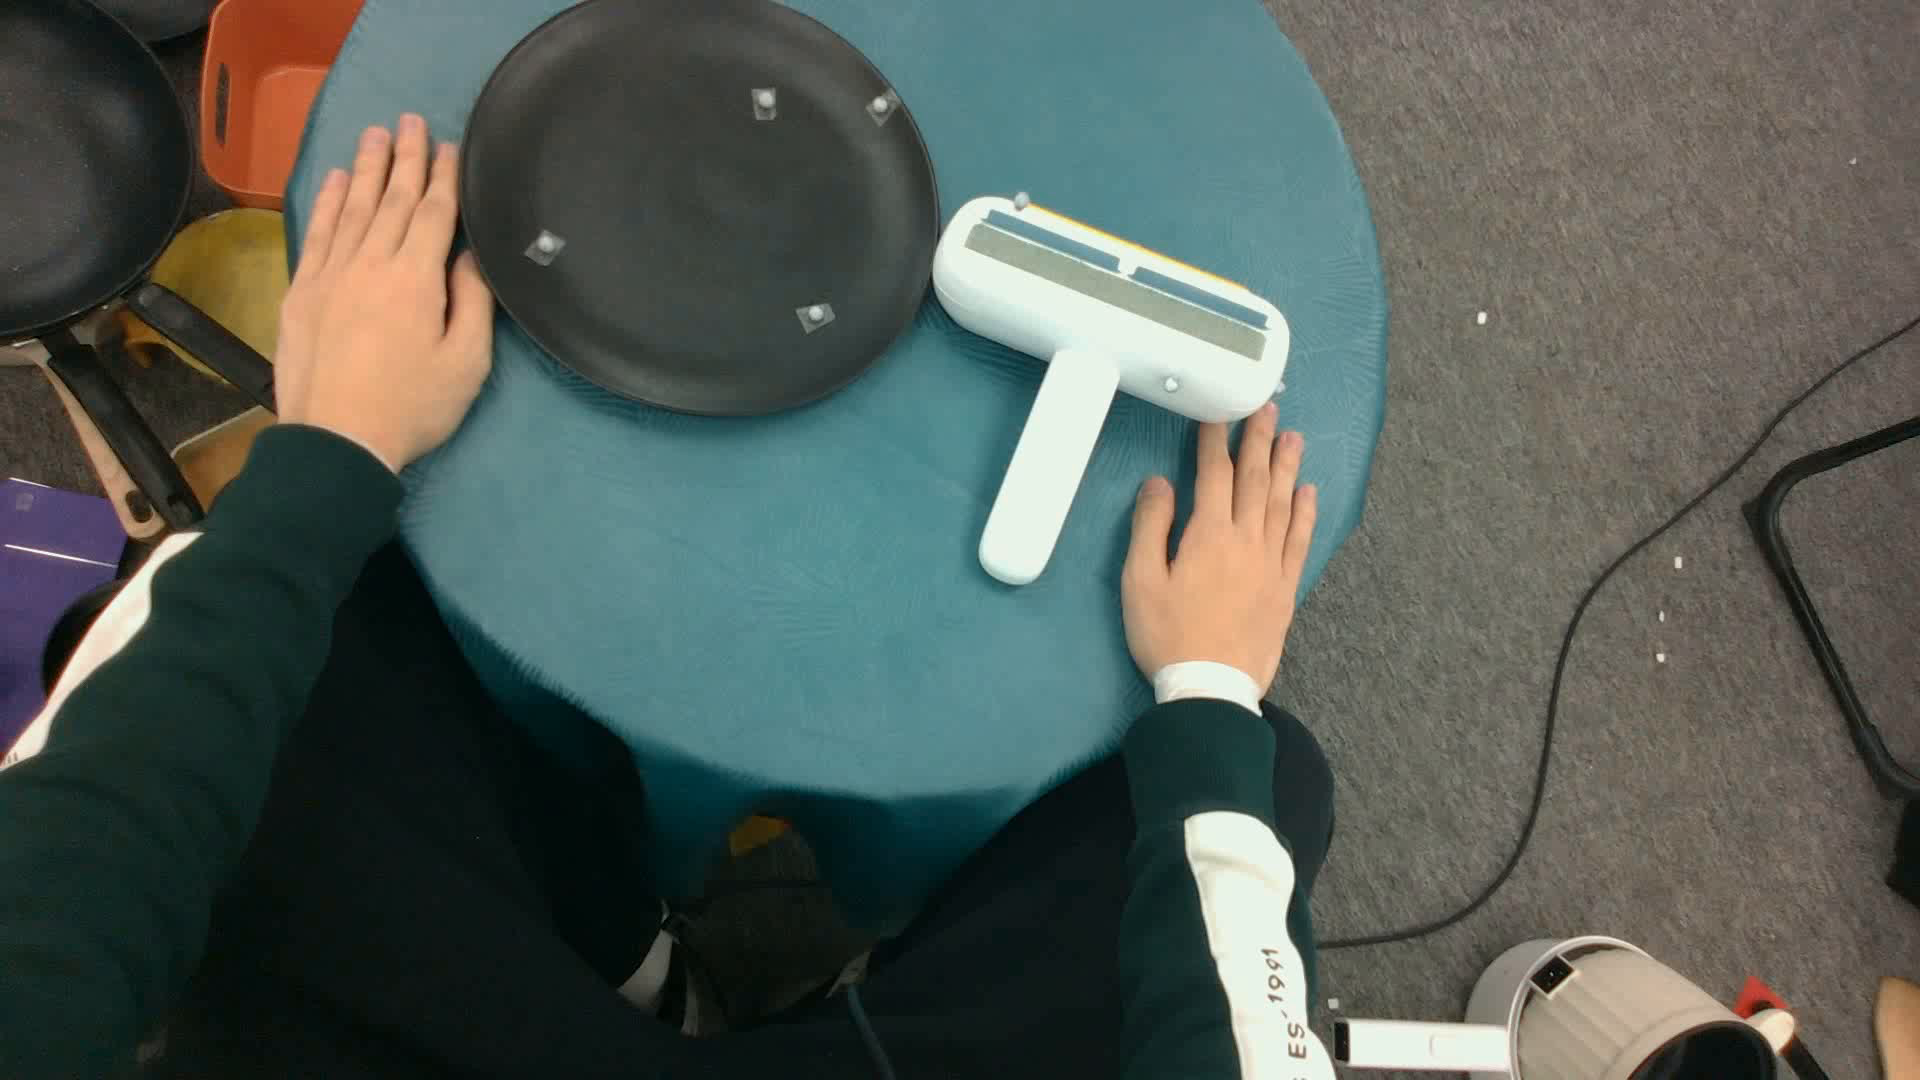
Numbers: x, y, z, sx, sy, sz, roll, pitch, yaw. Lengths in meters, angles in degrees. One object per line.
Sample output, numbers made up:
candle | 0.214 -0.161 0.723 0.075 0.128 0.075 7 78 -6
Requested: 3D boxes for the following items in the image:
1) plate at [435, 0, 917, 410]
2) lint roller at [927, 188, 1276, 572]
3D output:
plate | -0.142 -0.179 0.718 0.244 0.023 0.245 4 74 -15
lint roller | 0.048 -0.072 0.738 0.193 0.074 0.192 27 84 0
